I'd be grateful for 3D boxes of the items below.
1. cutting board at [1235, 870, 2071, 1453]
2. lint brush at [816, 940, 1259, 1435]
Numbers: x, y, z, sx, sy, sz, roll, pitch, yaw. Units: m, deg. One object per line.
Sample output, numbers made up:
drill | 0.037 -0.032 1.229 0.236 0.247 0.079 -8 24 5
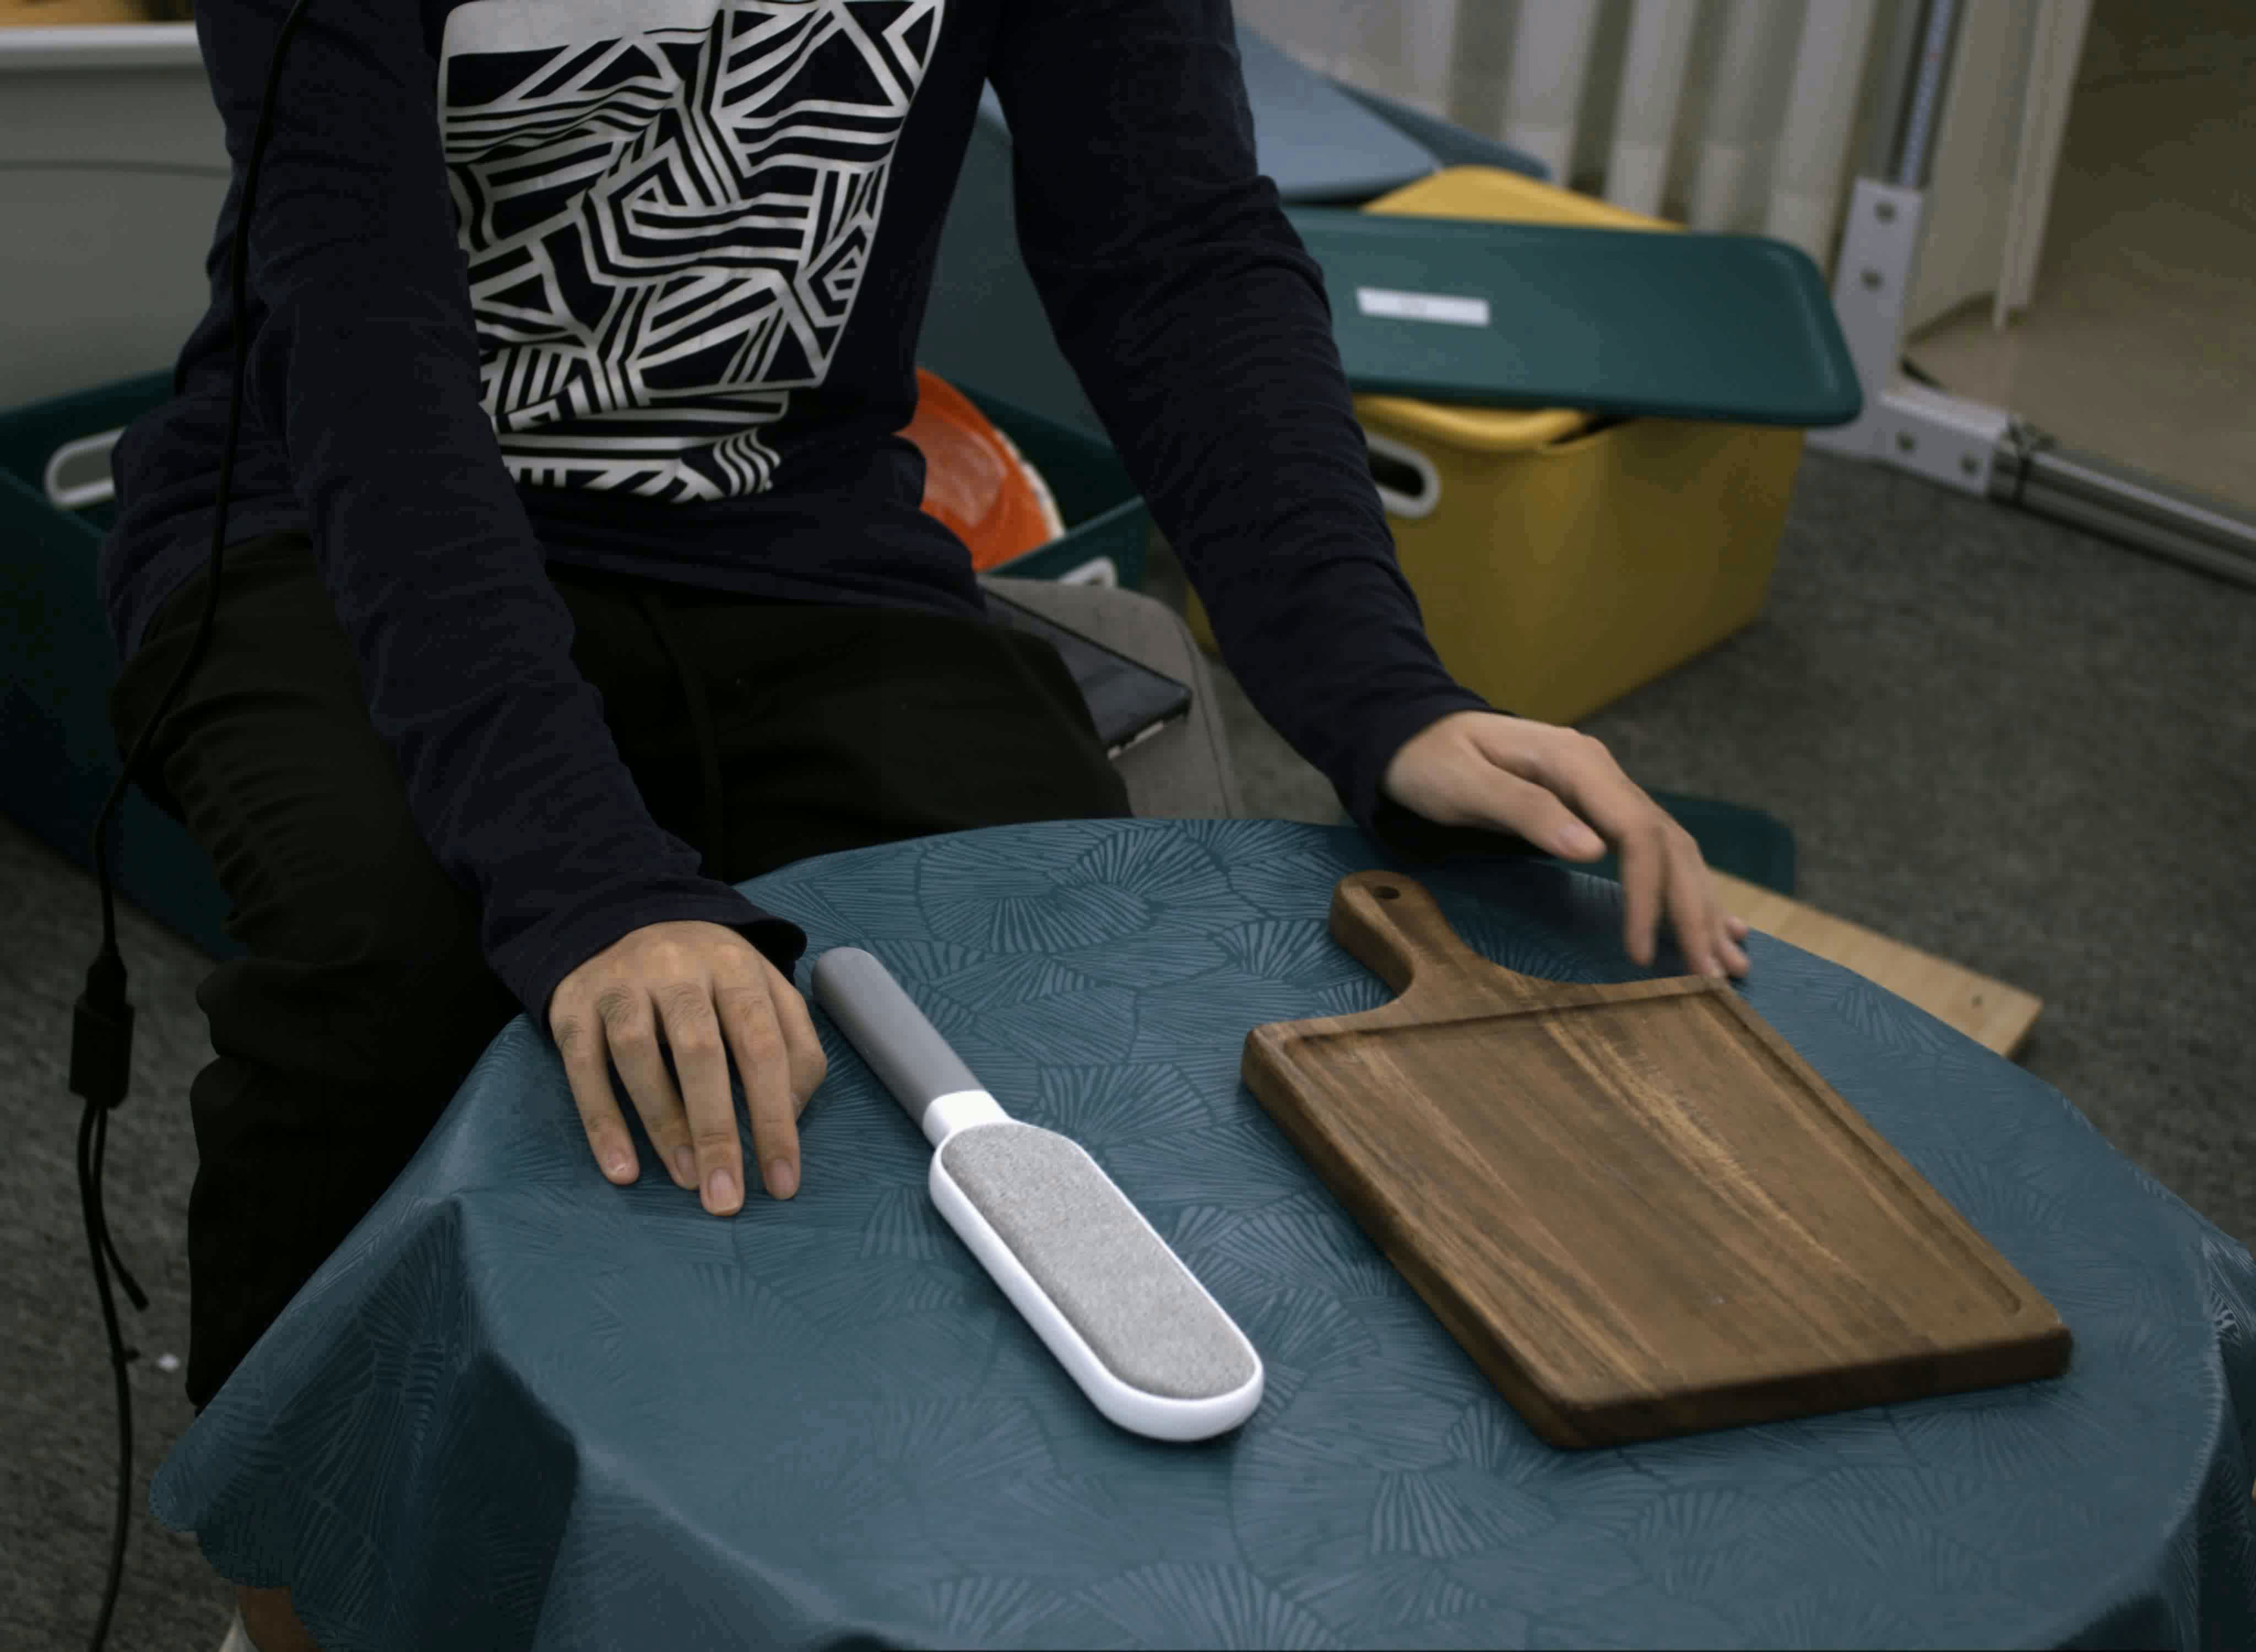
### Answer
cutting board | 0.156 0.104 1.858 0.200 0.023 0.355 -6 29 -23
lint brush | -0.038 0.116 1.783 0.060 0.021 0.312 -12 31 -22
